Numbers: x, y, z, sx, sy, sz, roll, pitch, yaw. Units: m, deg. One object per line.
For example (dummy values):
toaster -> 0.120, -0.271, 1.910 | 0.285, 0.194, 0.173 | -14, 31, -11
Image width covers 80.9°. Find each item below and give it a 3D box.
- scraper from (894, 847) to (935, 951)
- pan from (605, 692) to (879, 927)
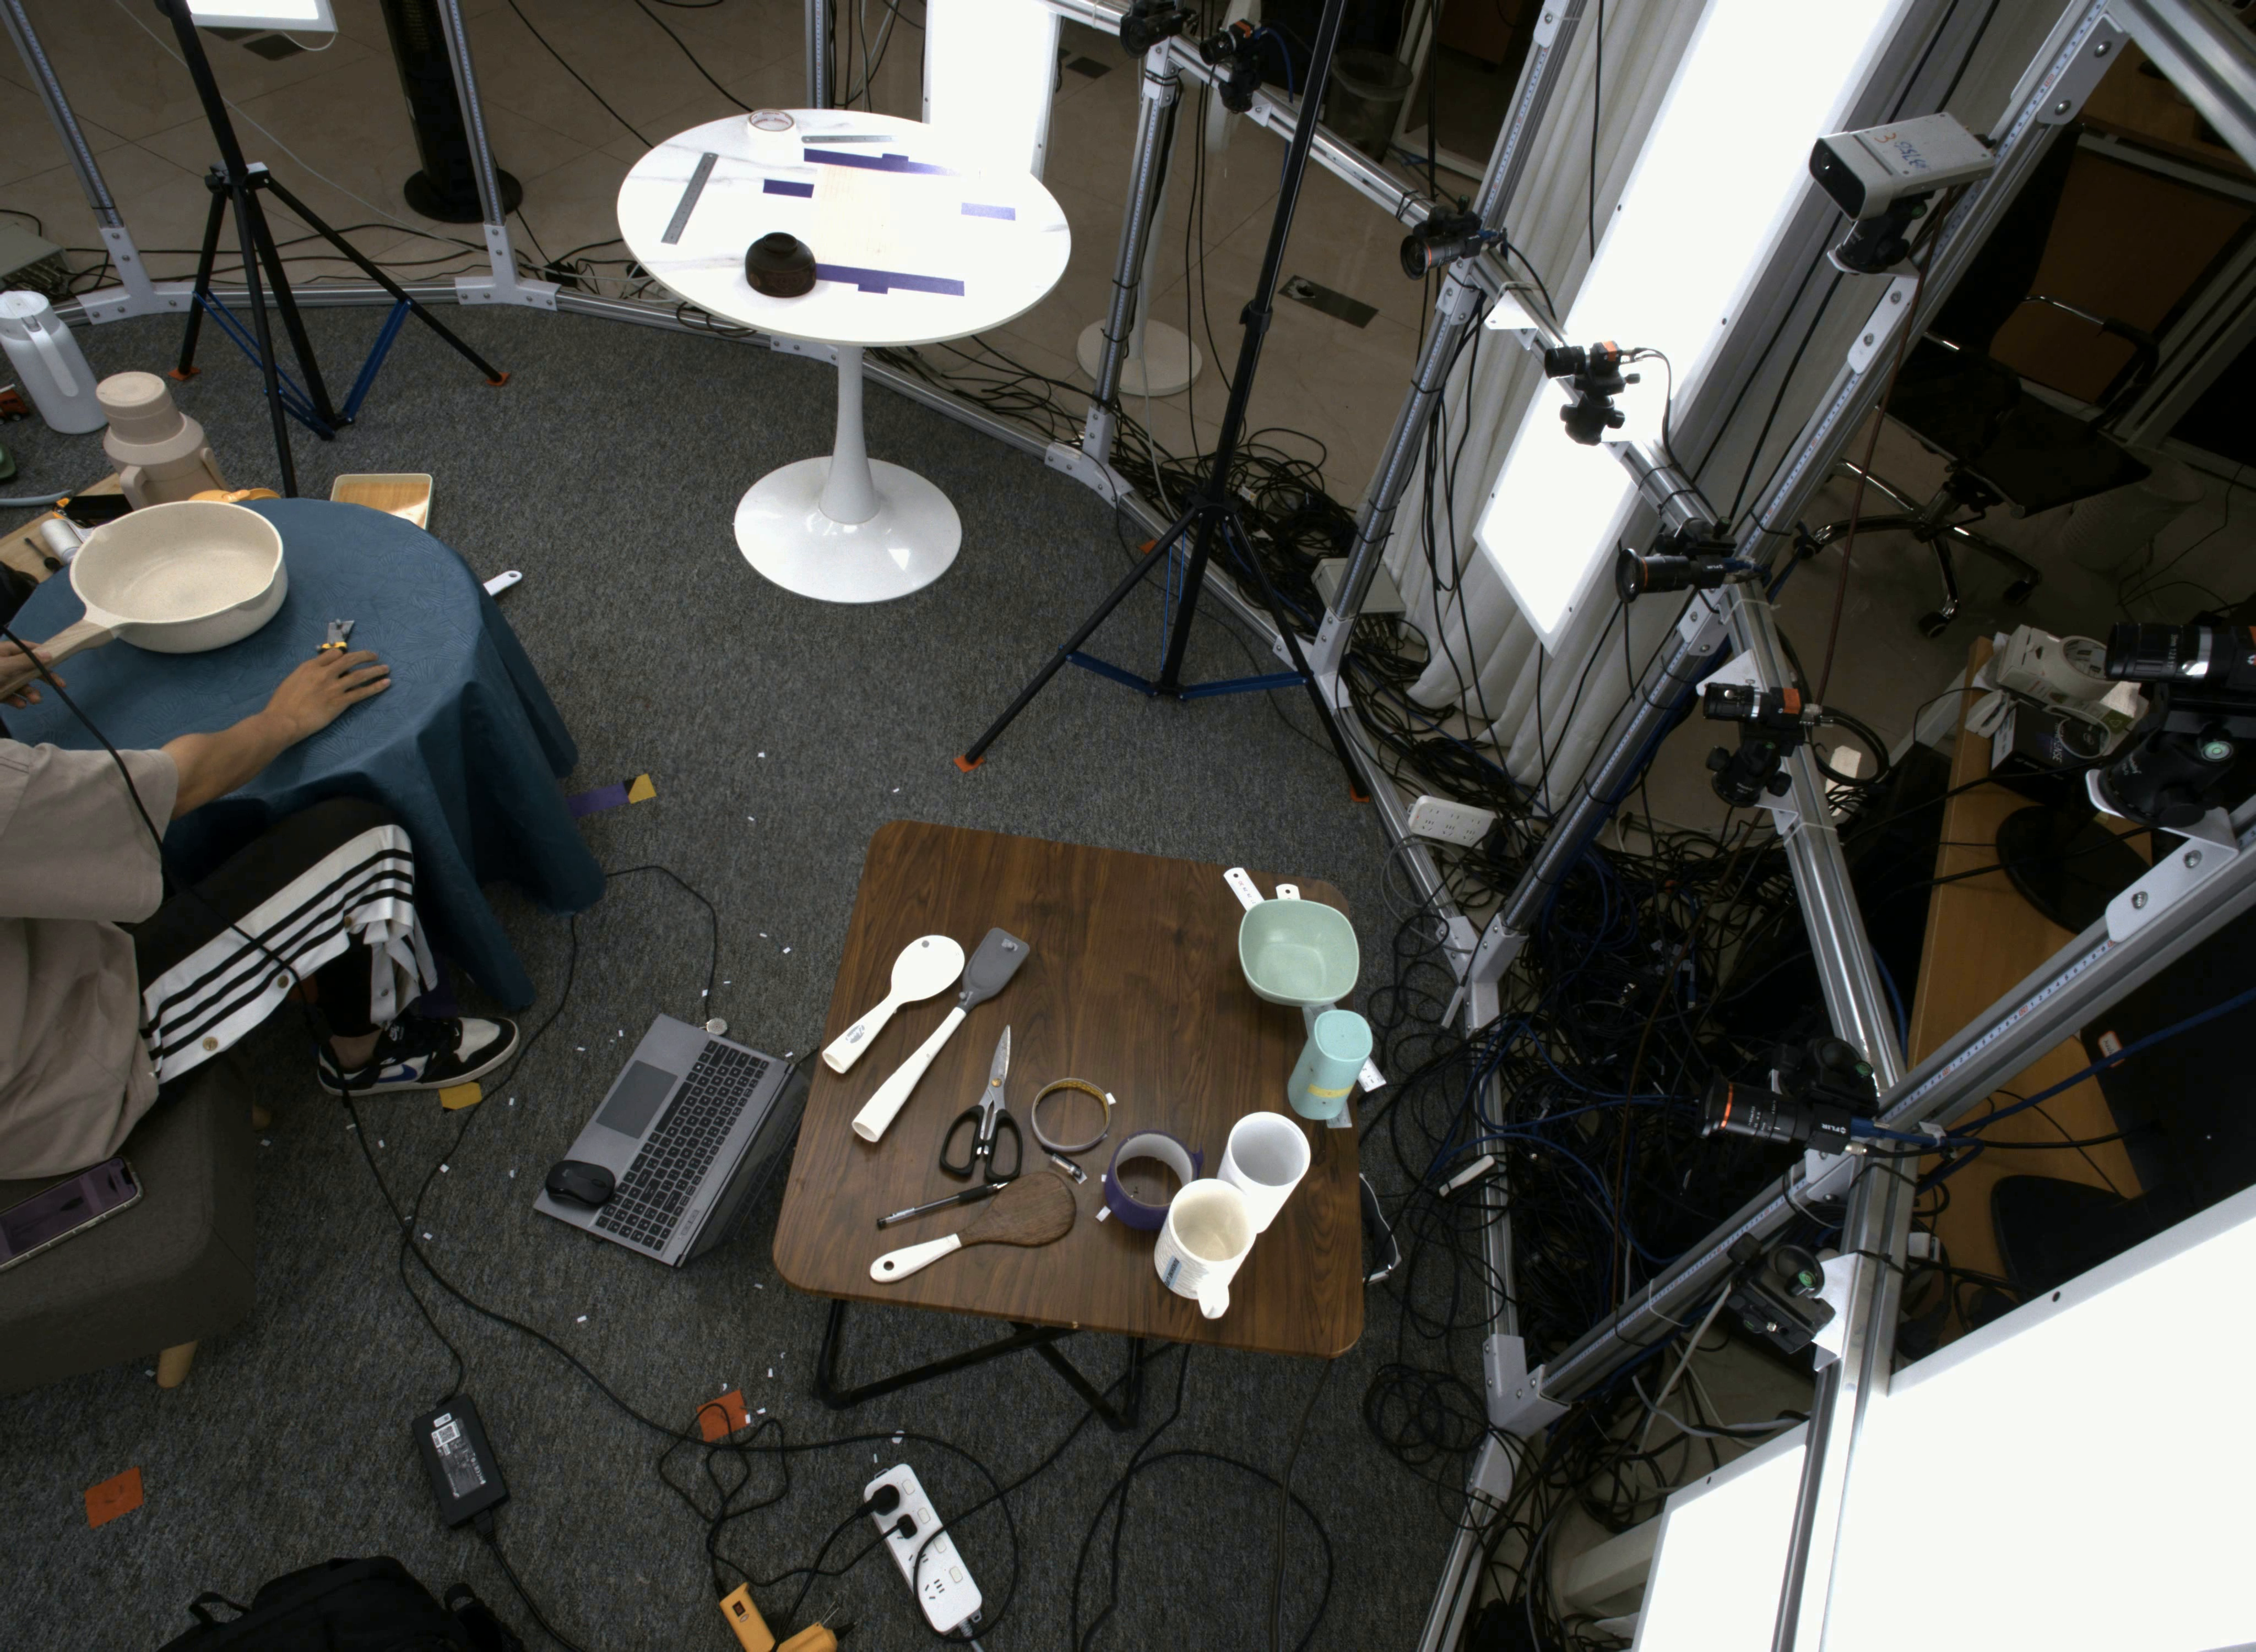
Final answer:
scraper -> -0.279, 0.092, 1.687 | 0.038, 0.015, 0.167 | 7, 47, -6
pan -> -0.505, -0.002, 1.657 | 0.259, 0.104, 0.434 | 33, 54, 9
